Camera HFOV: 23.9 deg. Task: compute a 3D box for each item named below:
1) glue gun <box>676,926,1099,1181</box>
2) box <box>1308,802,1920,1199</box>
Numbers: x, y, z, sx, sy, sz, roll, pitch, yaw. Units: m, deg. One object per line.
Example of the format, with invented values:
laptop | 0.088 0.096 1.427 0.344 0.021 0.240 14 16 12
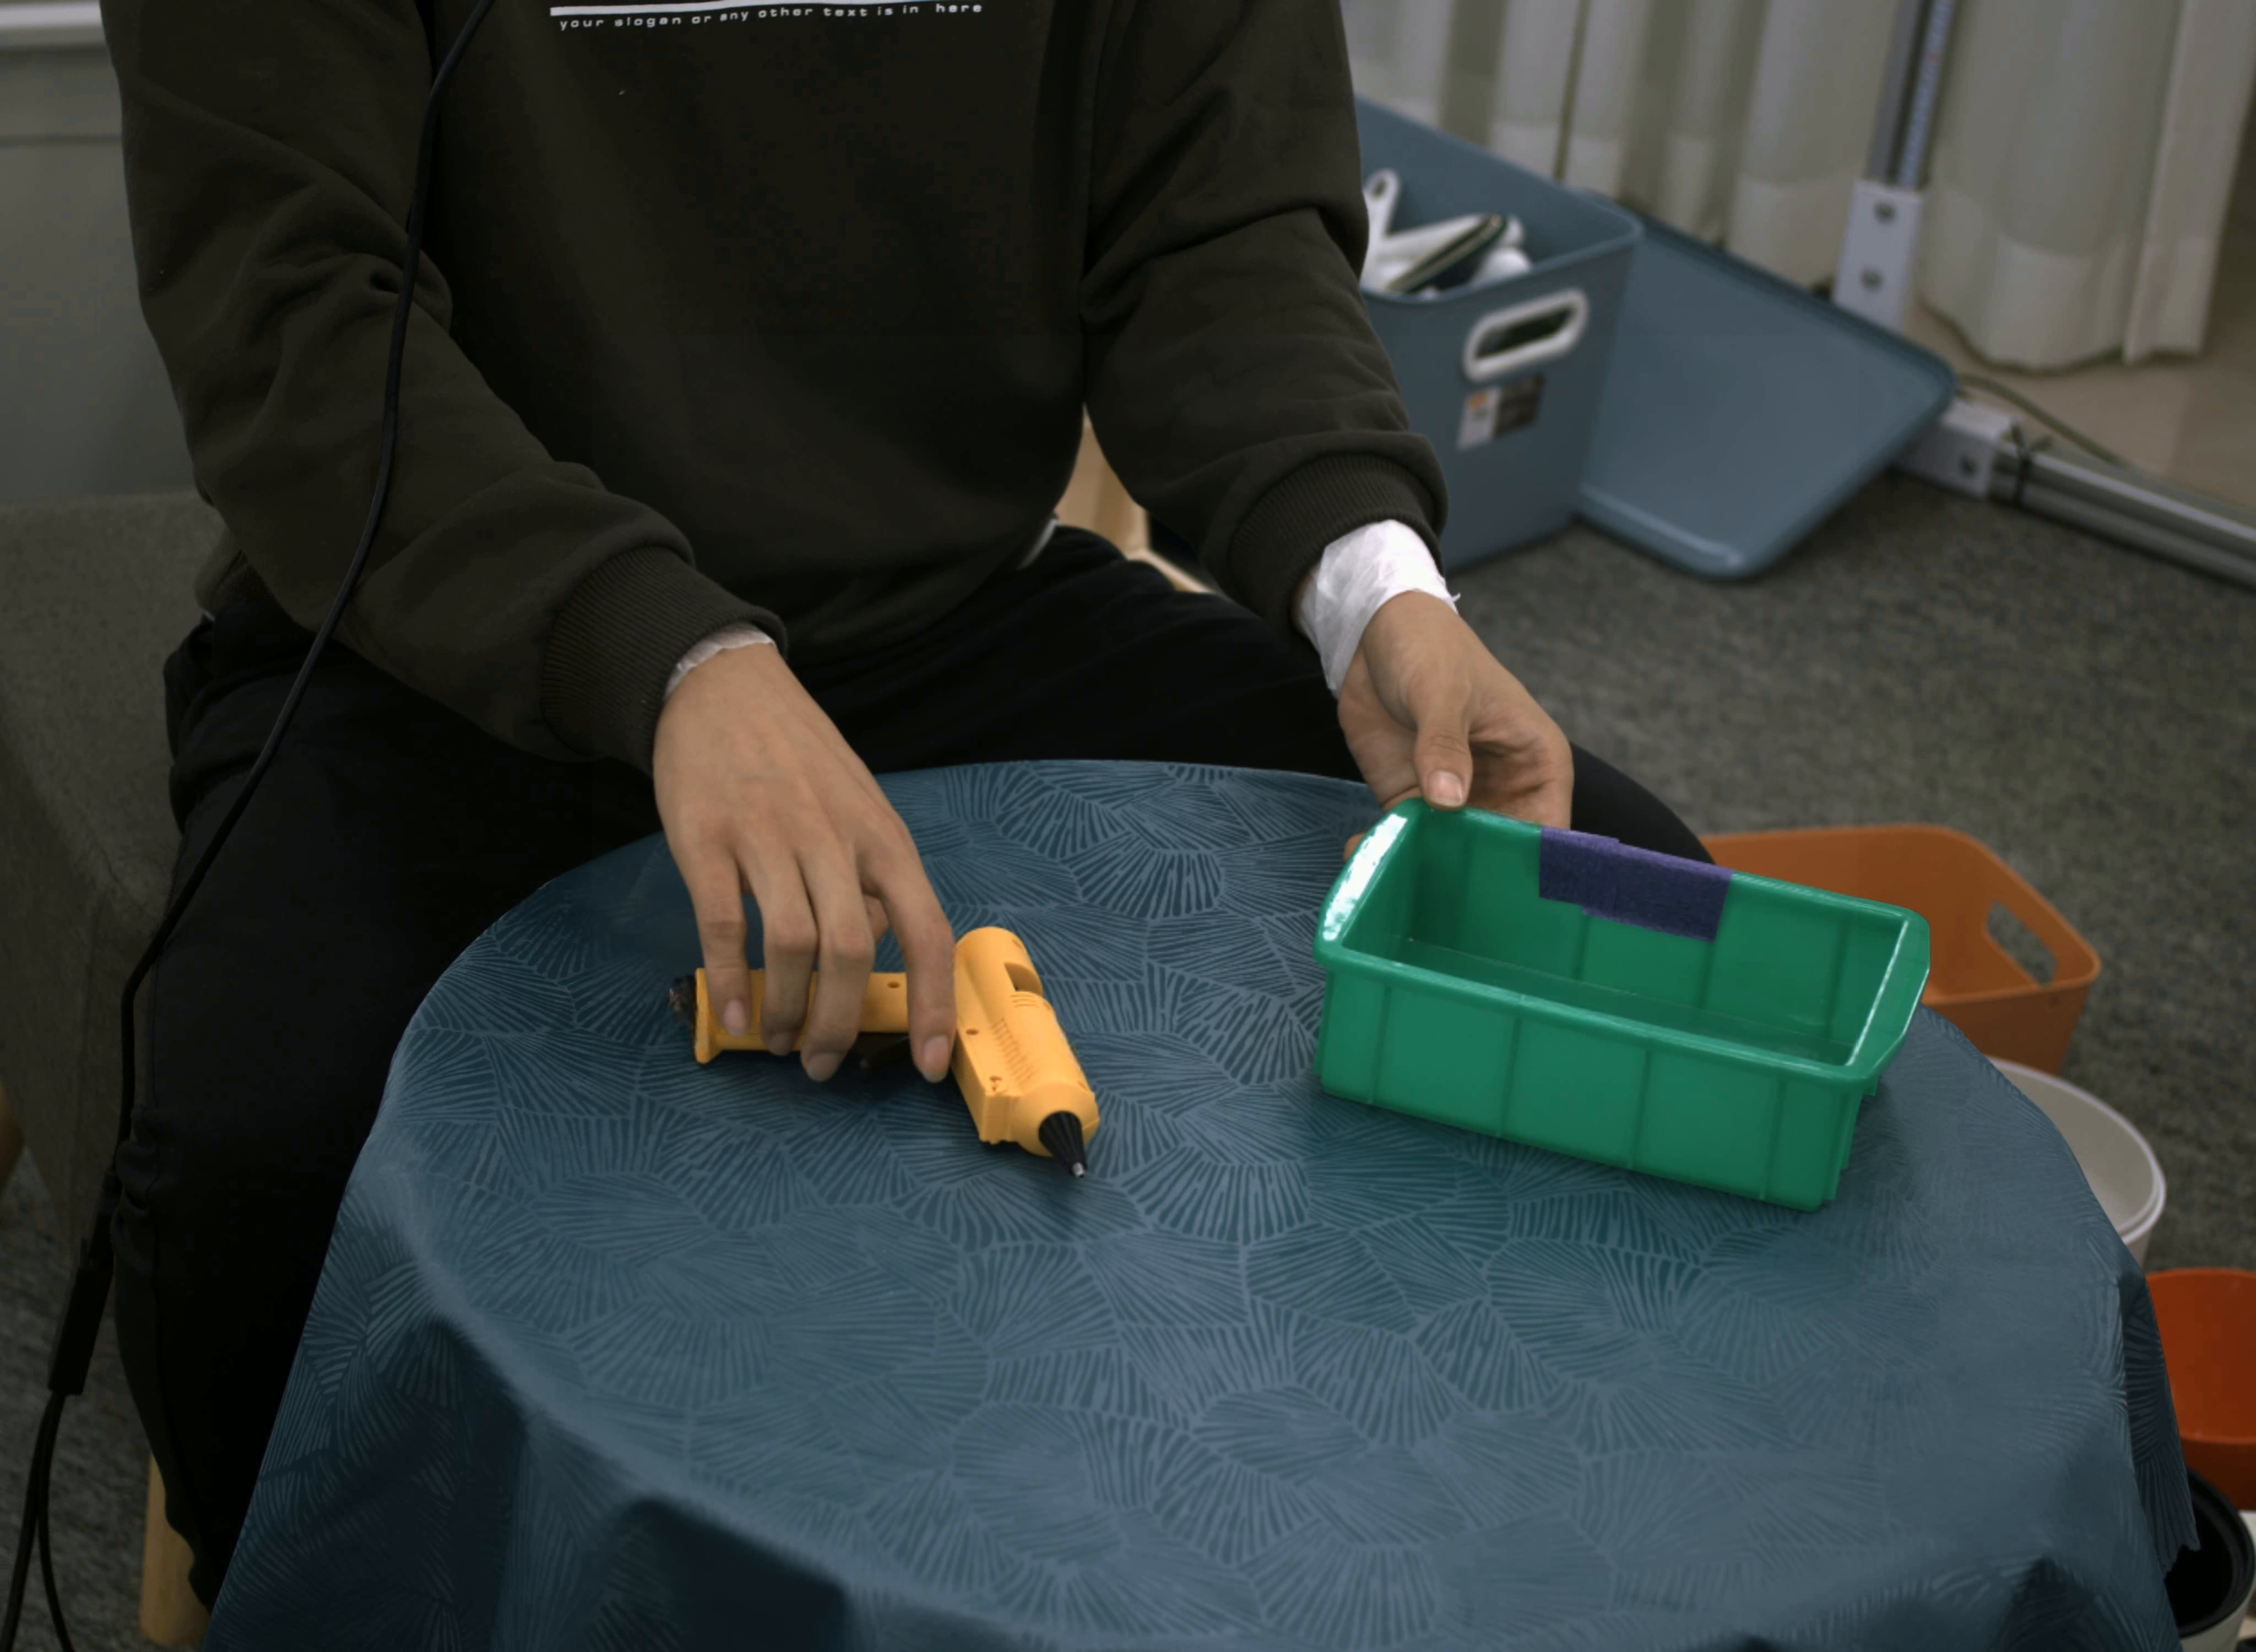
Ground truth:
glue gun | -0.076 0.086 1.840 0.132 0.031 0.152 -5 30 -18
box | 0.171 0.063 1.899 0.210 0.065 0.139 11 25 13
